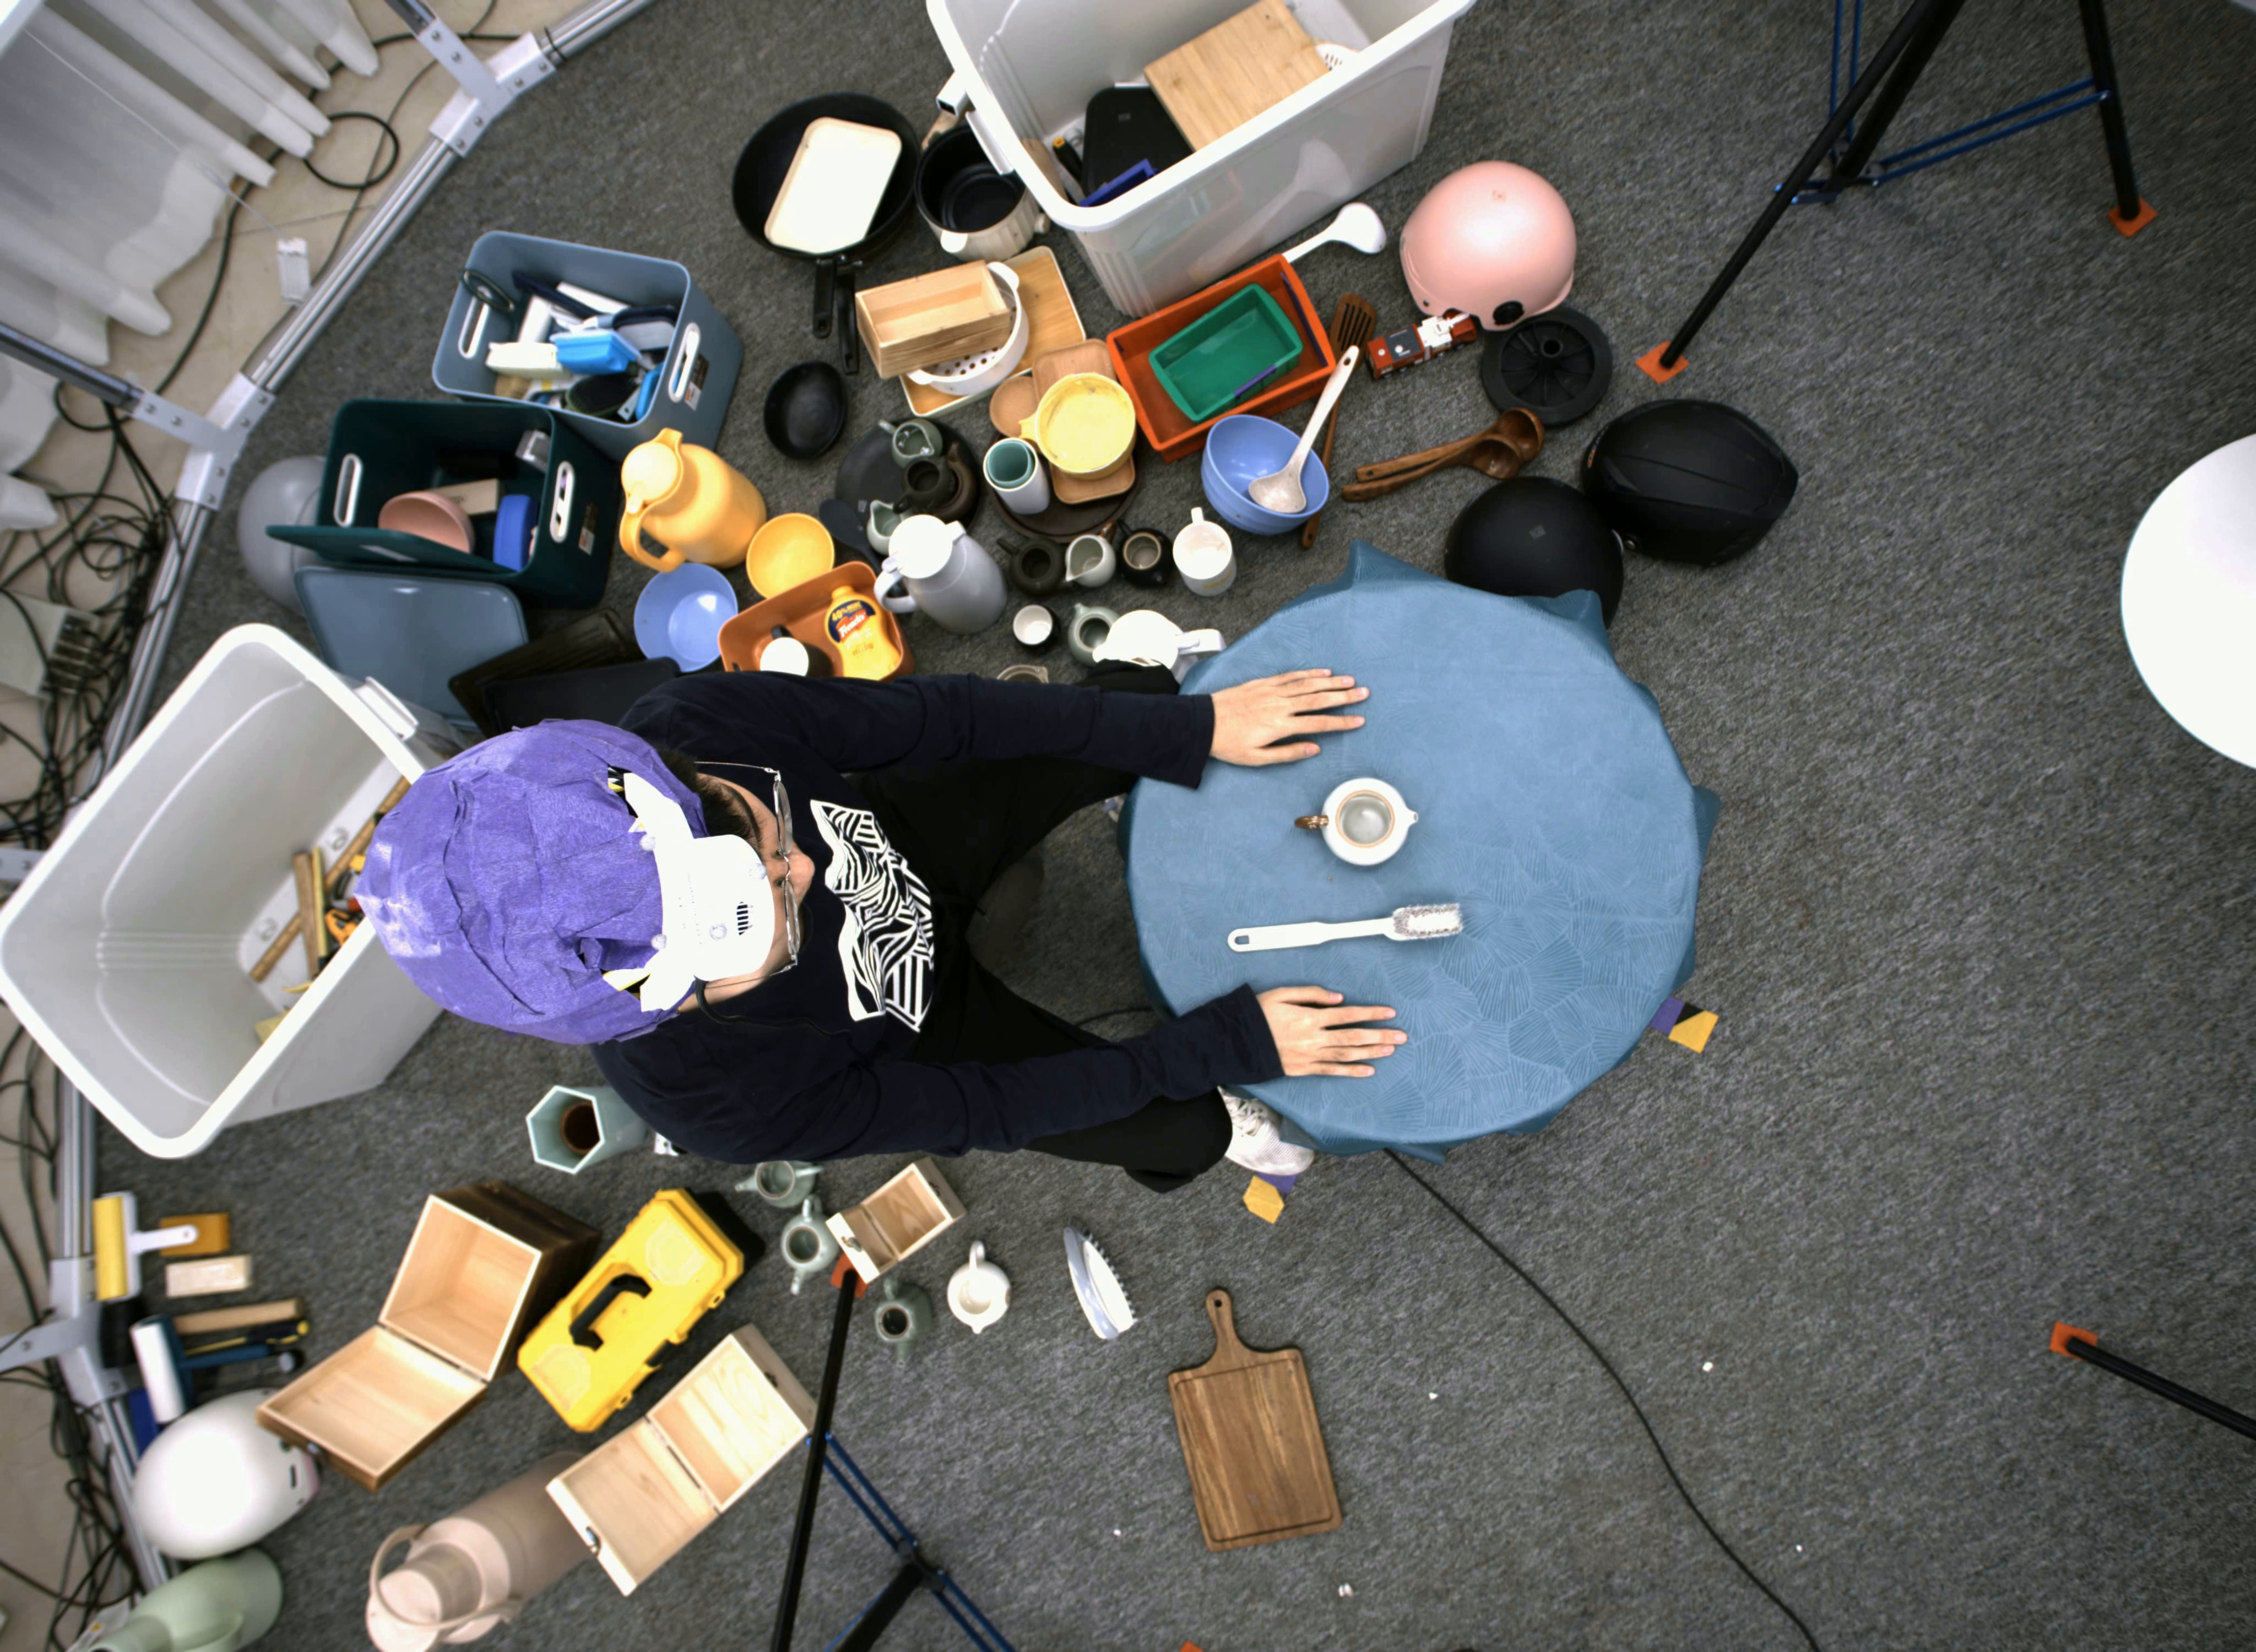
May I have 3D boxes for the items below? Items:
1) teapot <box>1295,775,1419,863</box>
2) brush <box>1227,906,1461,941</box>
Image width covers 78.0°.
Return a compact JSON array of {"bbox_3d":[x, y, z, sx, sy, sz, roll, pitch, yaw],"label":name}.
[{"bbox_3d":[0.238,-0.008,1.440,0.128,0.059,0.091,-4,89,10],"label":"teapot"},{"bbox_3d":[0.222,0.103,1.442,0.245,0.050,0.034,-3,89,10],"label":"brush"}]
